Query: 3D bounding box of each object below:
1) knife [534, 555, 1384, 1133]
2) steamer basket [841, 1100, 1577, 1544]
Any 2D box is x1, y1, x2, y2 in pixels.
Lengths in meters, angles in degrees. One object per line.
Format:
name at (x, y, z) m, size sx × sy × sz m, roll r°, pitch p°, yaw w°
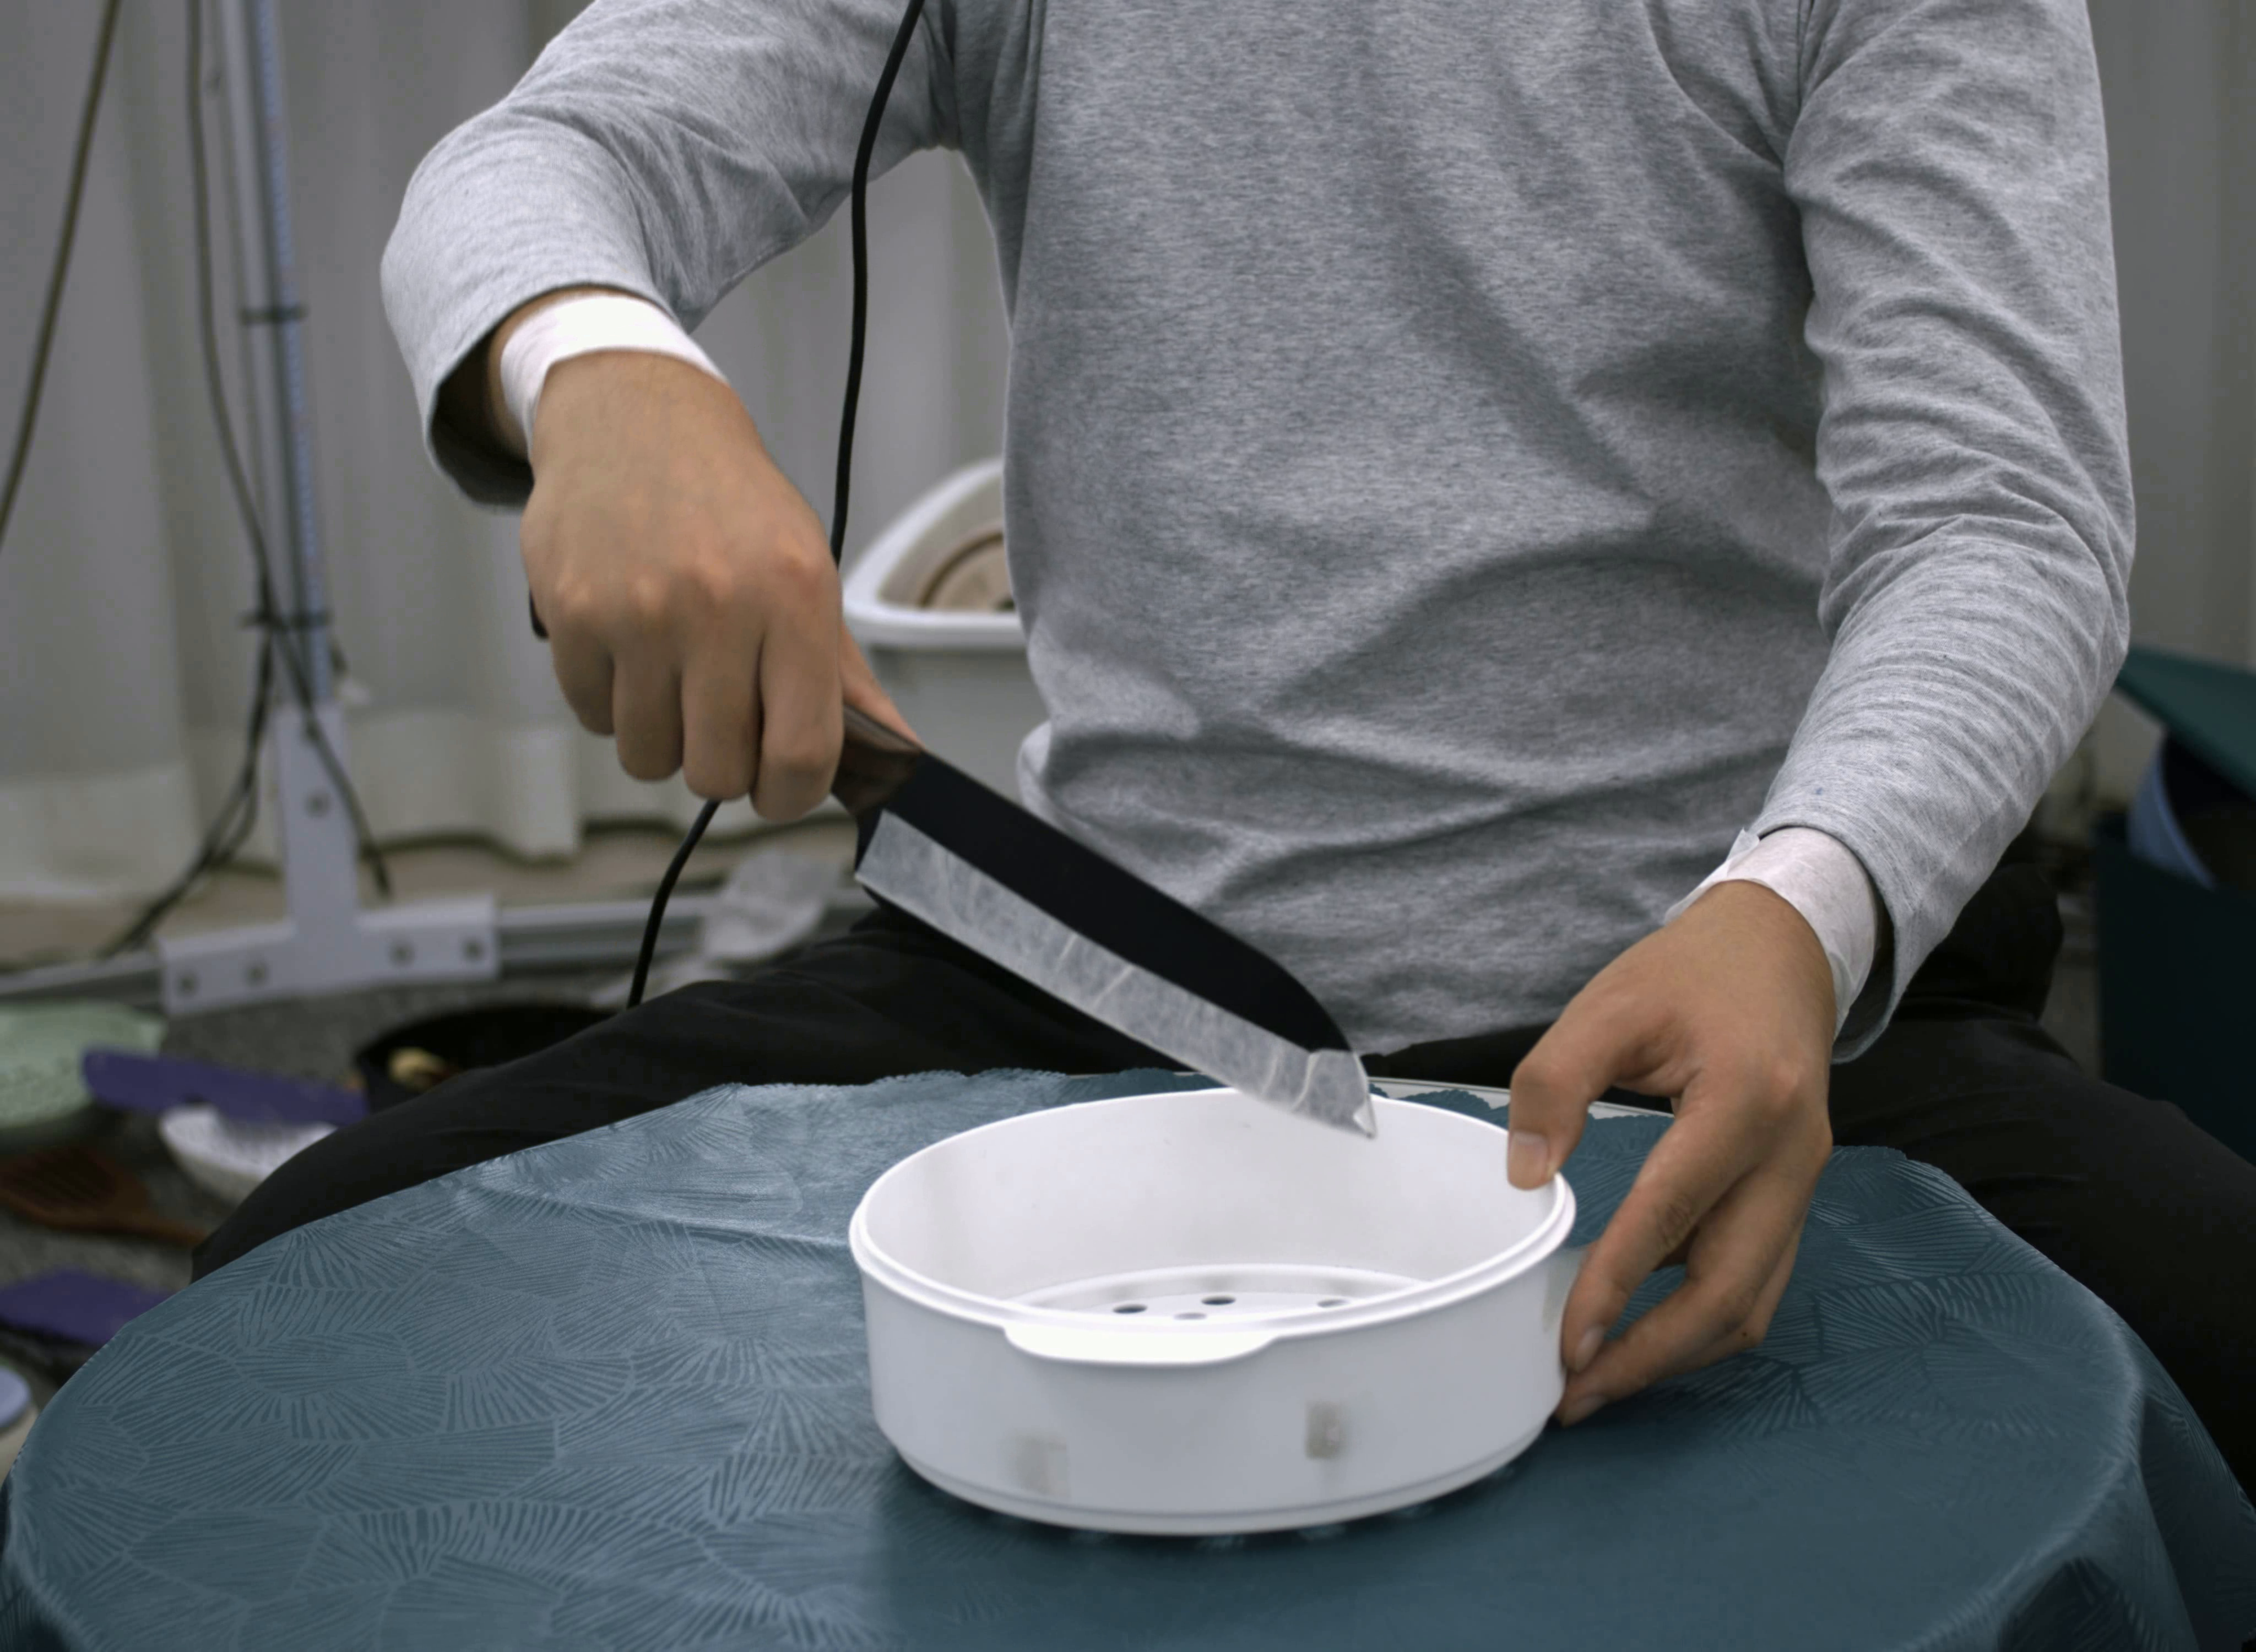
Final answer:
knife at (-0.048, 0.004, 1.506) m, size 0.290 × 0.050 × 0.020 m, roll 32°, pitch 25°, yaw 16°
steamer basket at (0.023, 0.136, 1.504) m, size 0.201 × 0.069 × 0.231 m, roll 1°, pitch 14°, yaw 13°
